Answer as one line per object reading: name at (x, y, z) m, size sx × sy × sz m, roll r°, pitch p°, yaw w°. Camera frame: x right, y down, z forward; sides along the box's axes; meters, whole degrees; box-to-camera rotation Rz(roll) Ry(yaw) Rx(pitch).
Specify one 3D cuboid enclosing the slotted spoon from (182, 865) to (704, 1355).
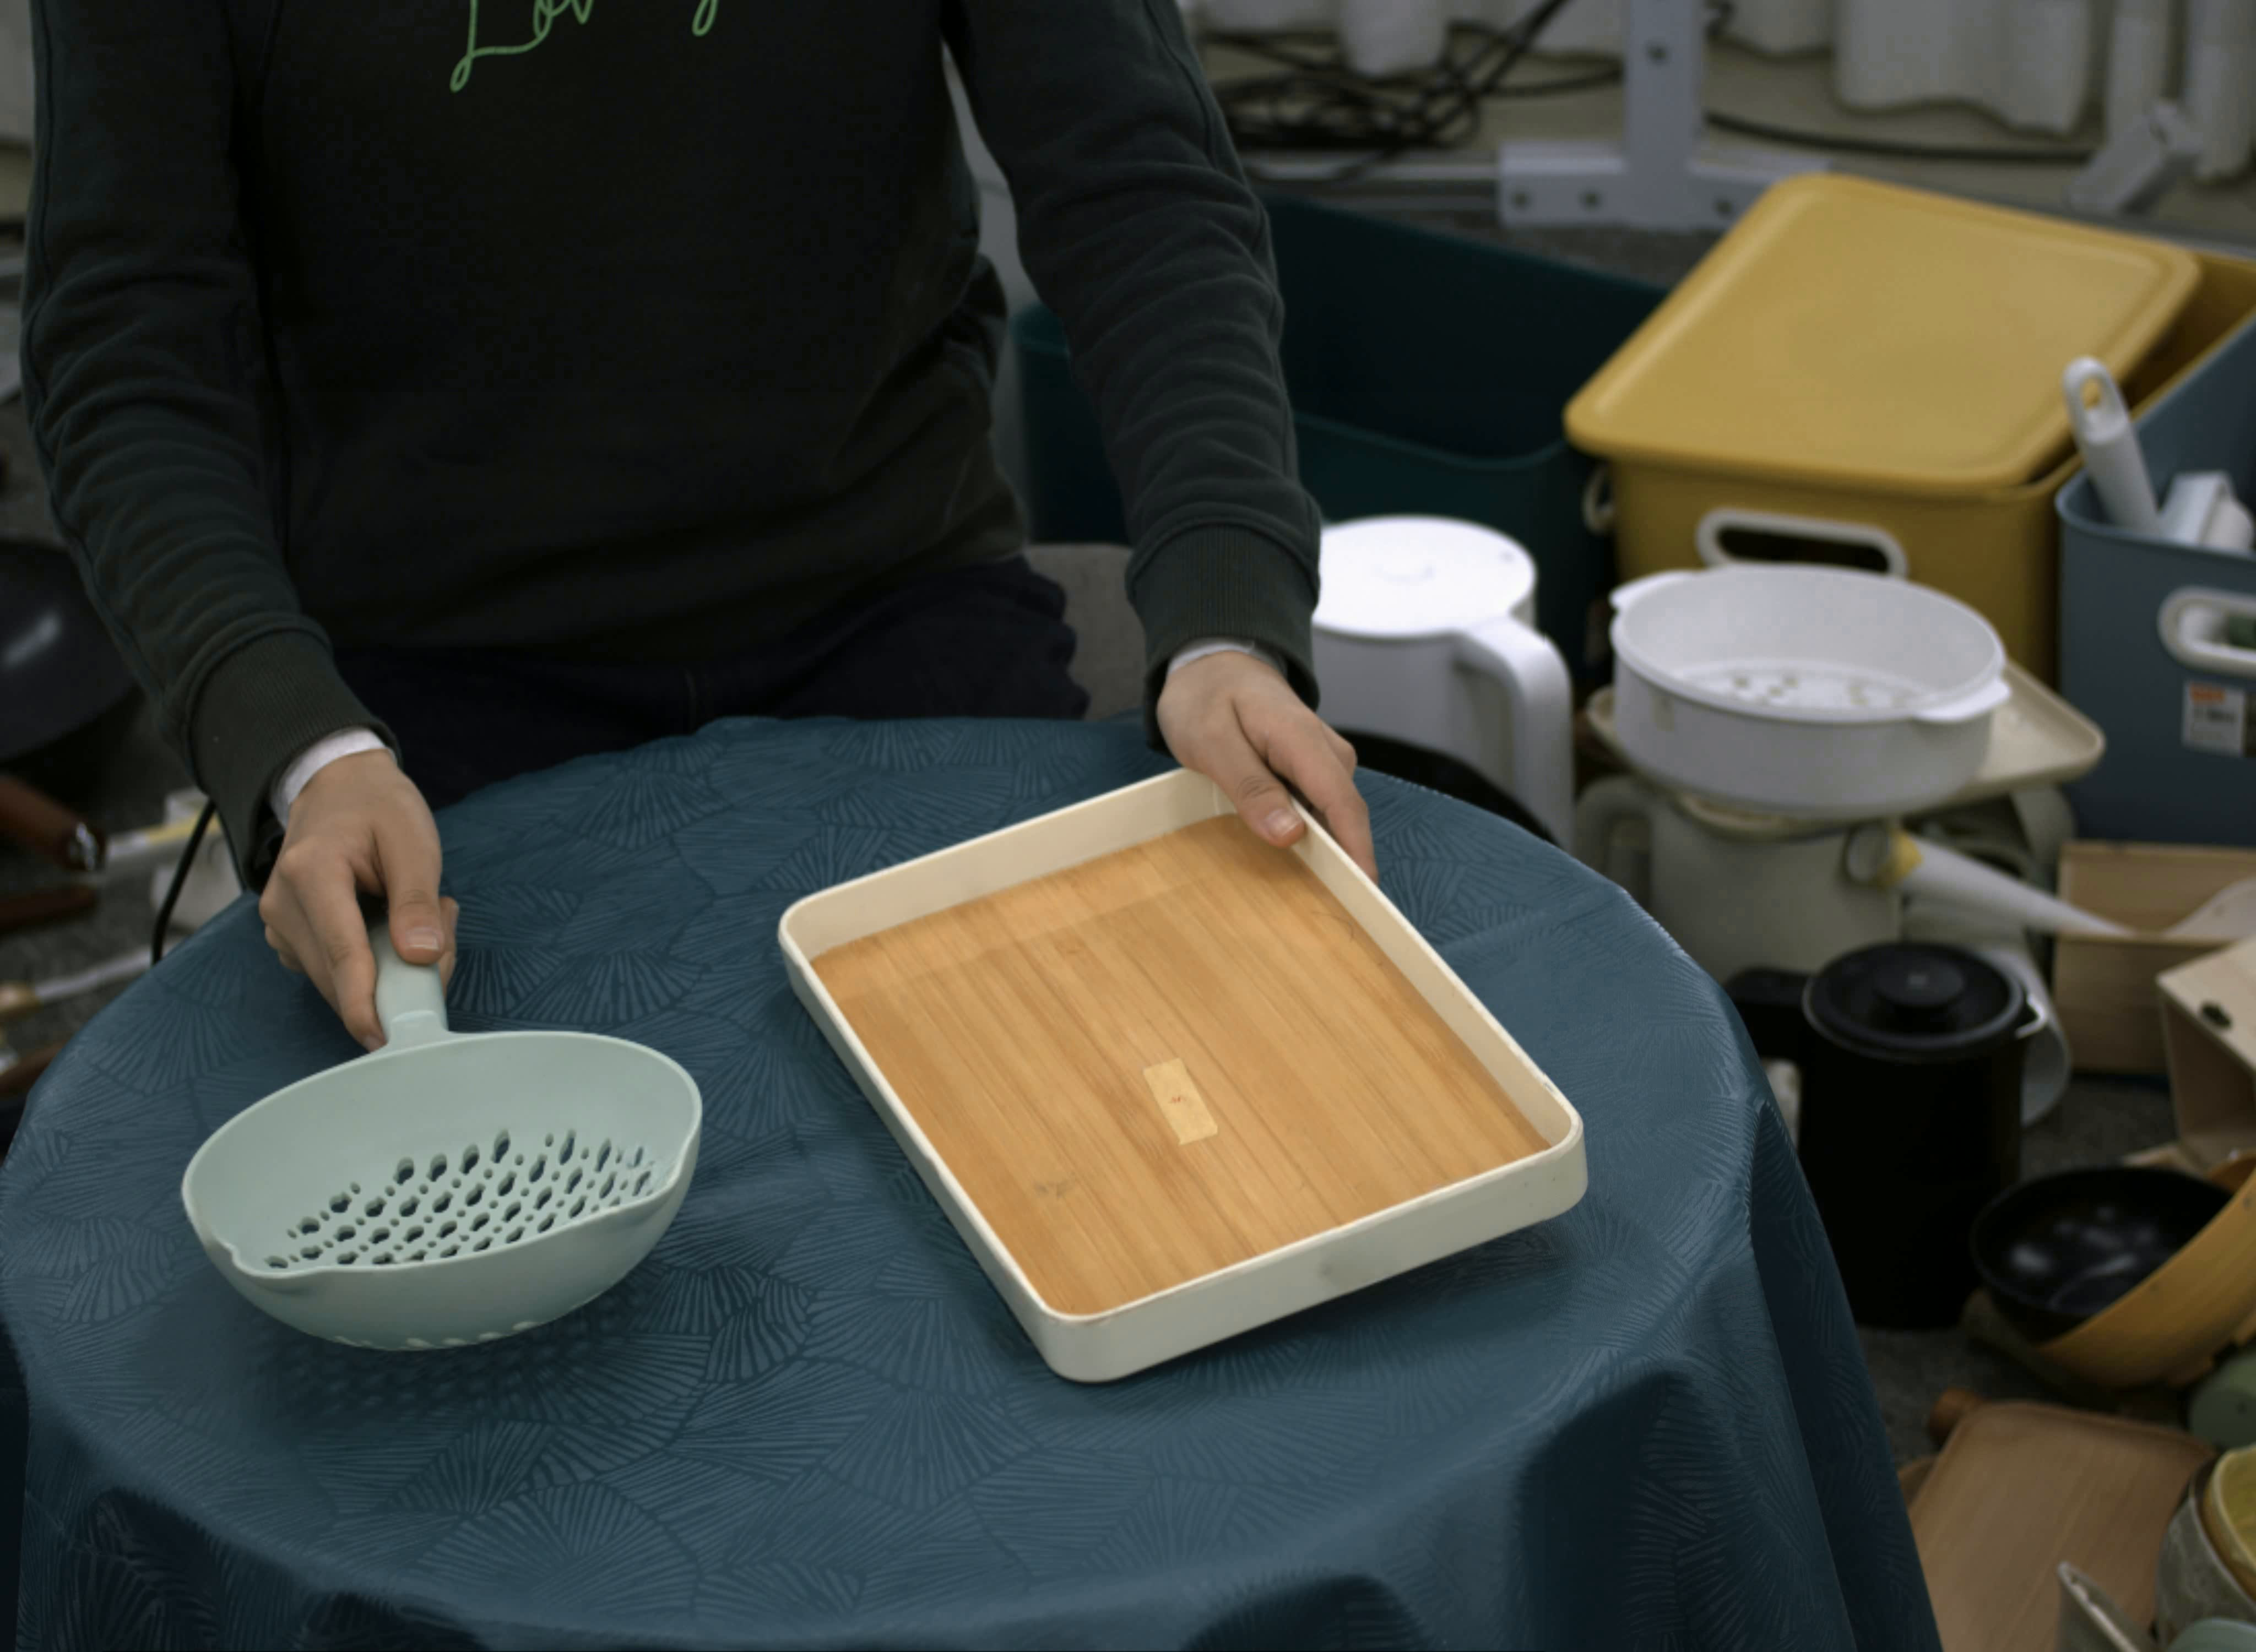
slotted spoon at (-0.236, 0.079, 1.890) m, size 0.169 × 0.074 × 0.363 m, roll -11°, pitch 30°, yaw -8°

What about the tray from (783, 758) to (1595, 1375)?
tray at (0.015, 0.075, 1.893) m, size 0.192 × 0.027 × 0.303 m, roll -18°, pitch 31°, yaw -14°
